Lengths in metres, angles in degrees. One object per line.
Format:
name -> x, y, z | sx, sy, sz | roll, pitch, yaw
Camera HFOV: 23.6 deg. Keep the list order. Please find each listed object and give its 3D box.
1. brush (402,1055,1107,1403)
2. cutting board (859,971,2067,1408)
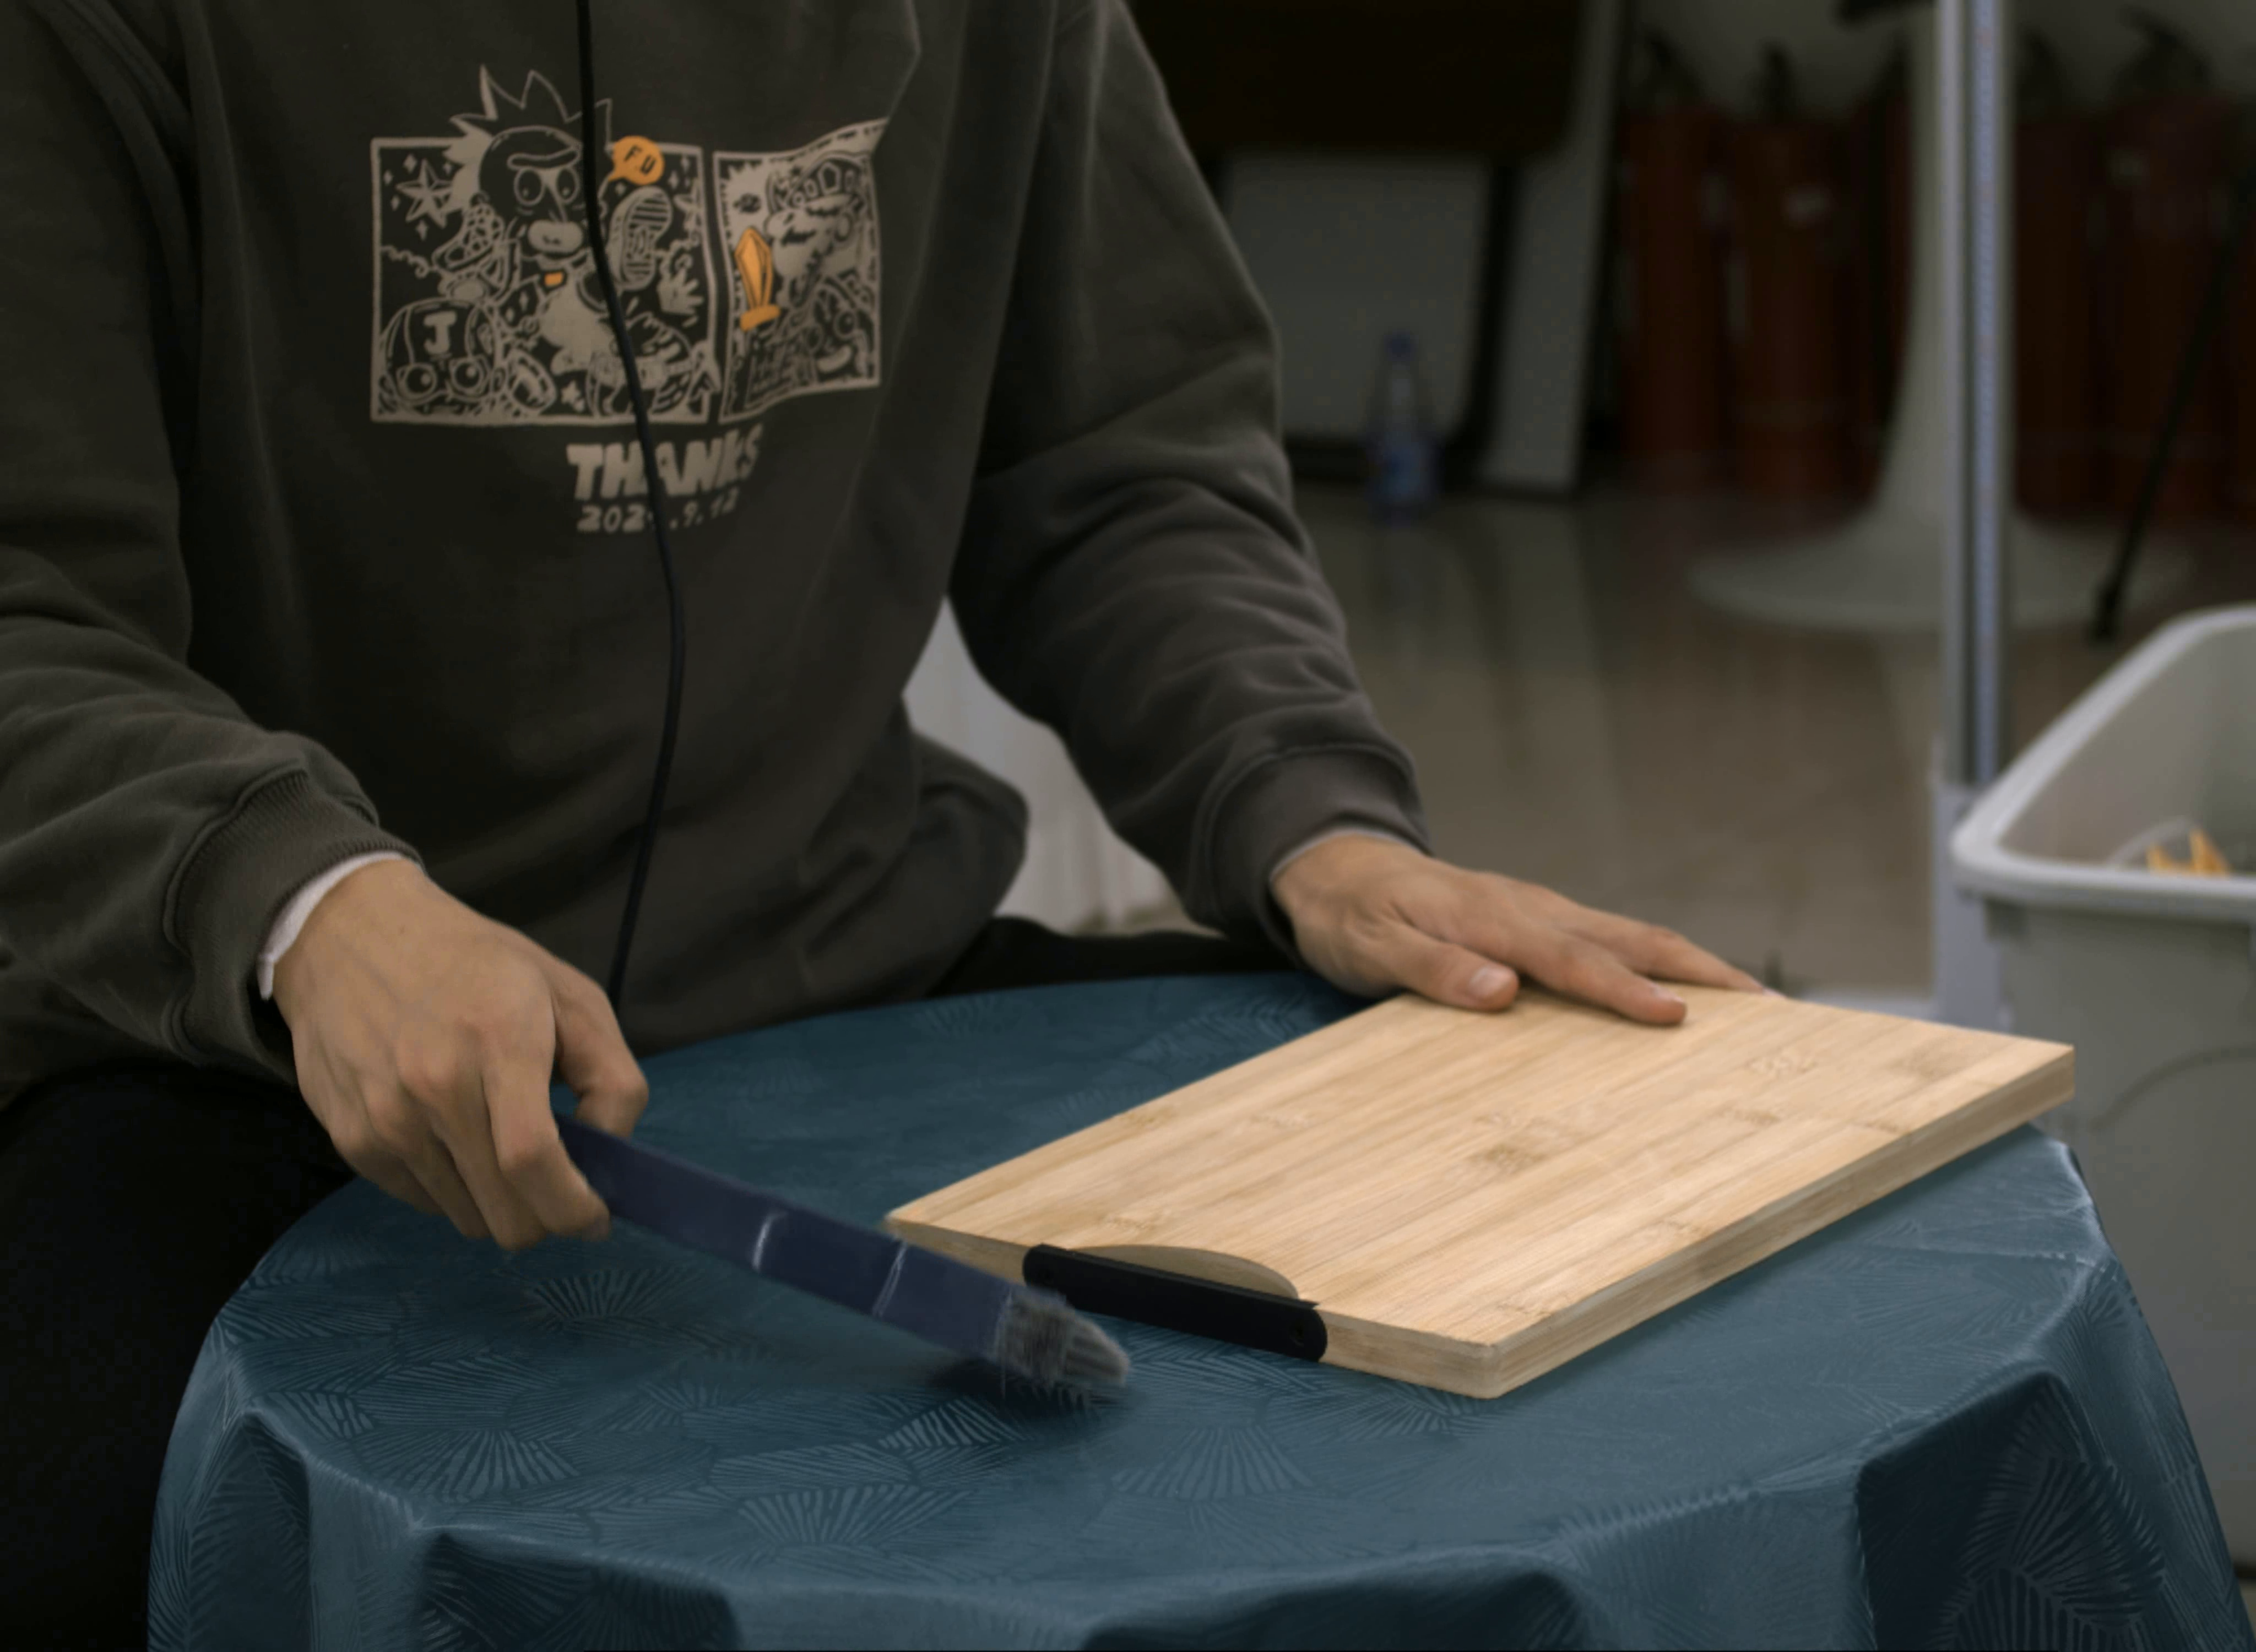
brush -> -0.124, 0.120, 1.621 | 0.274, 0.034, 0.094 | 18, -1, 28
cutting board -> 0.116, 0.112, 1.751 | 0.252, 0.024, 0.342 | 6, 17, 39
